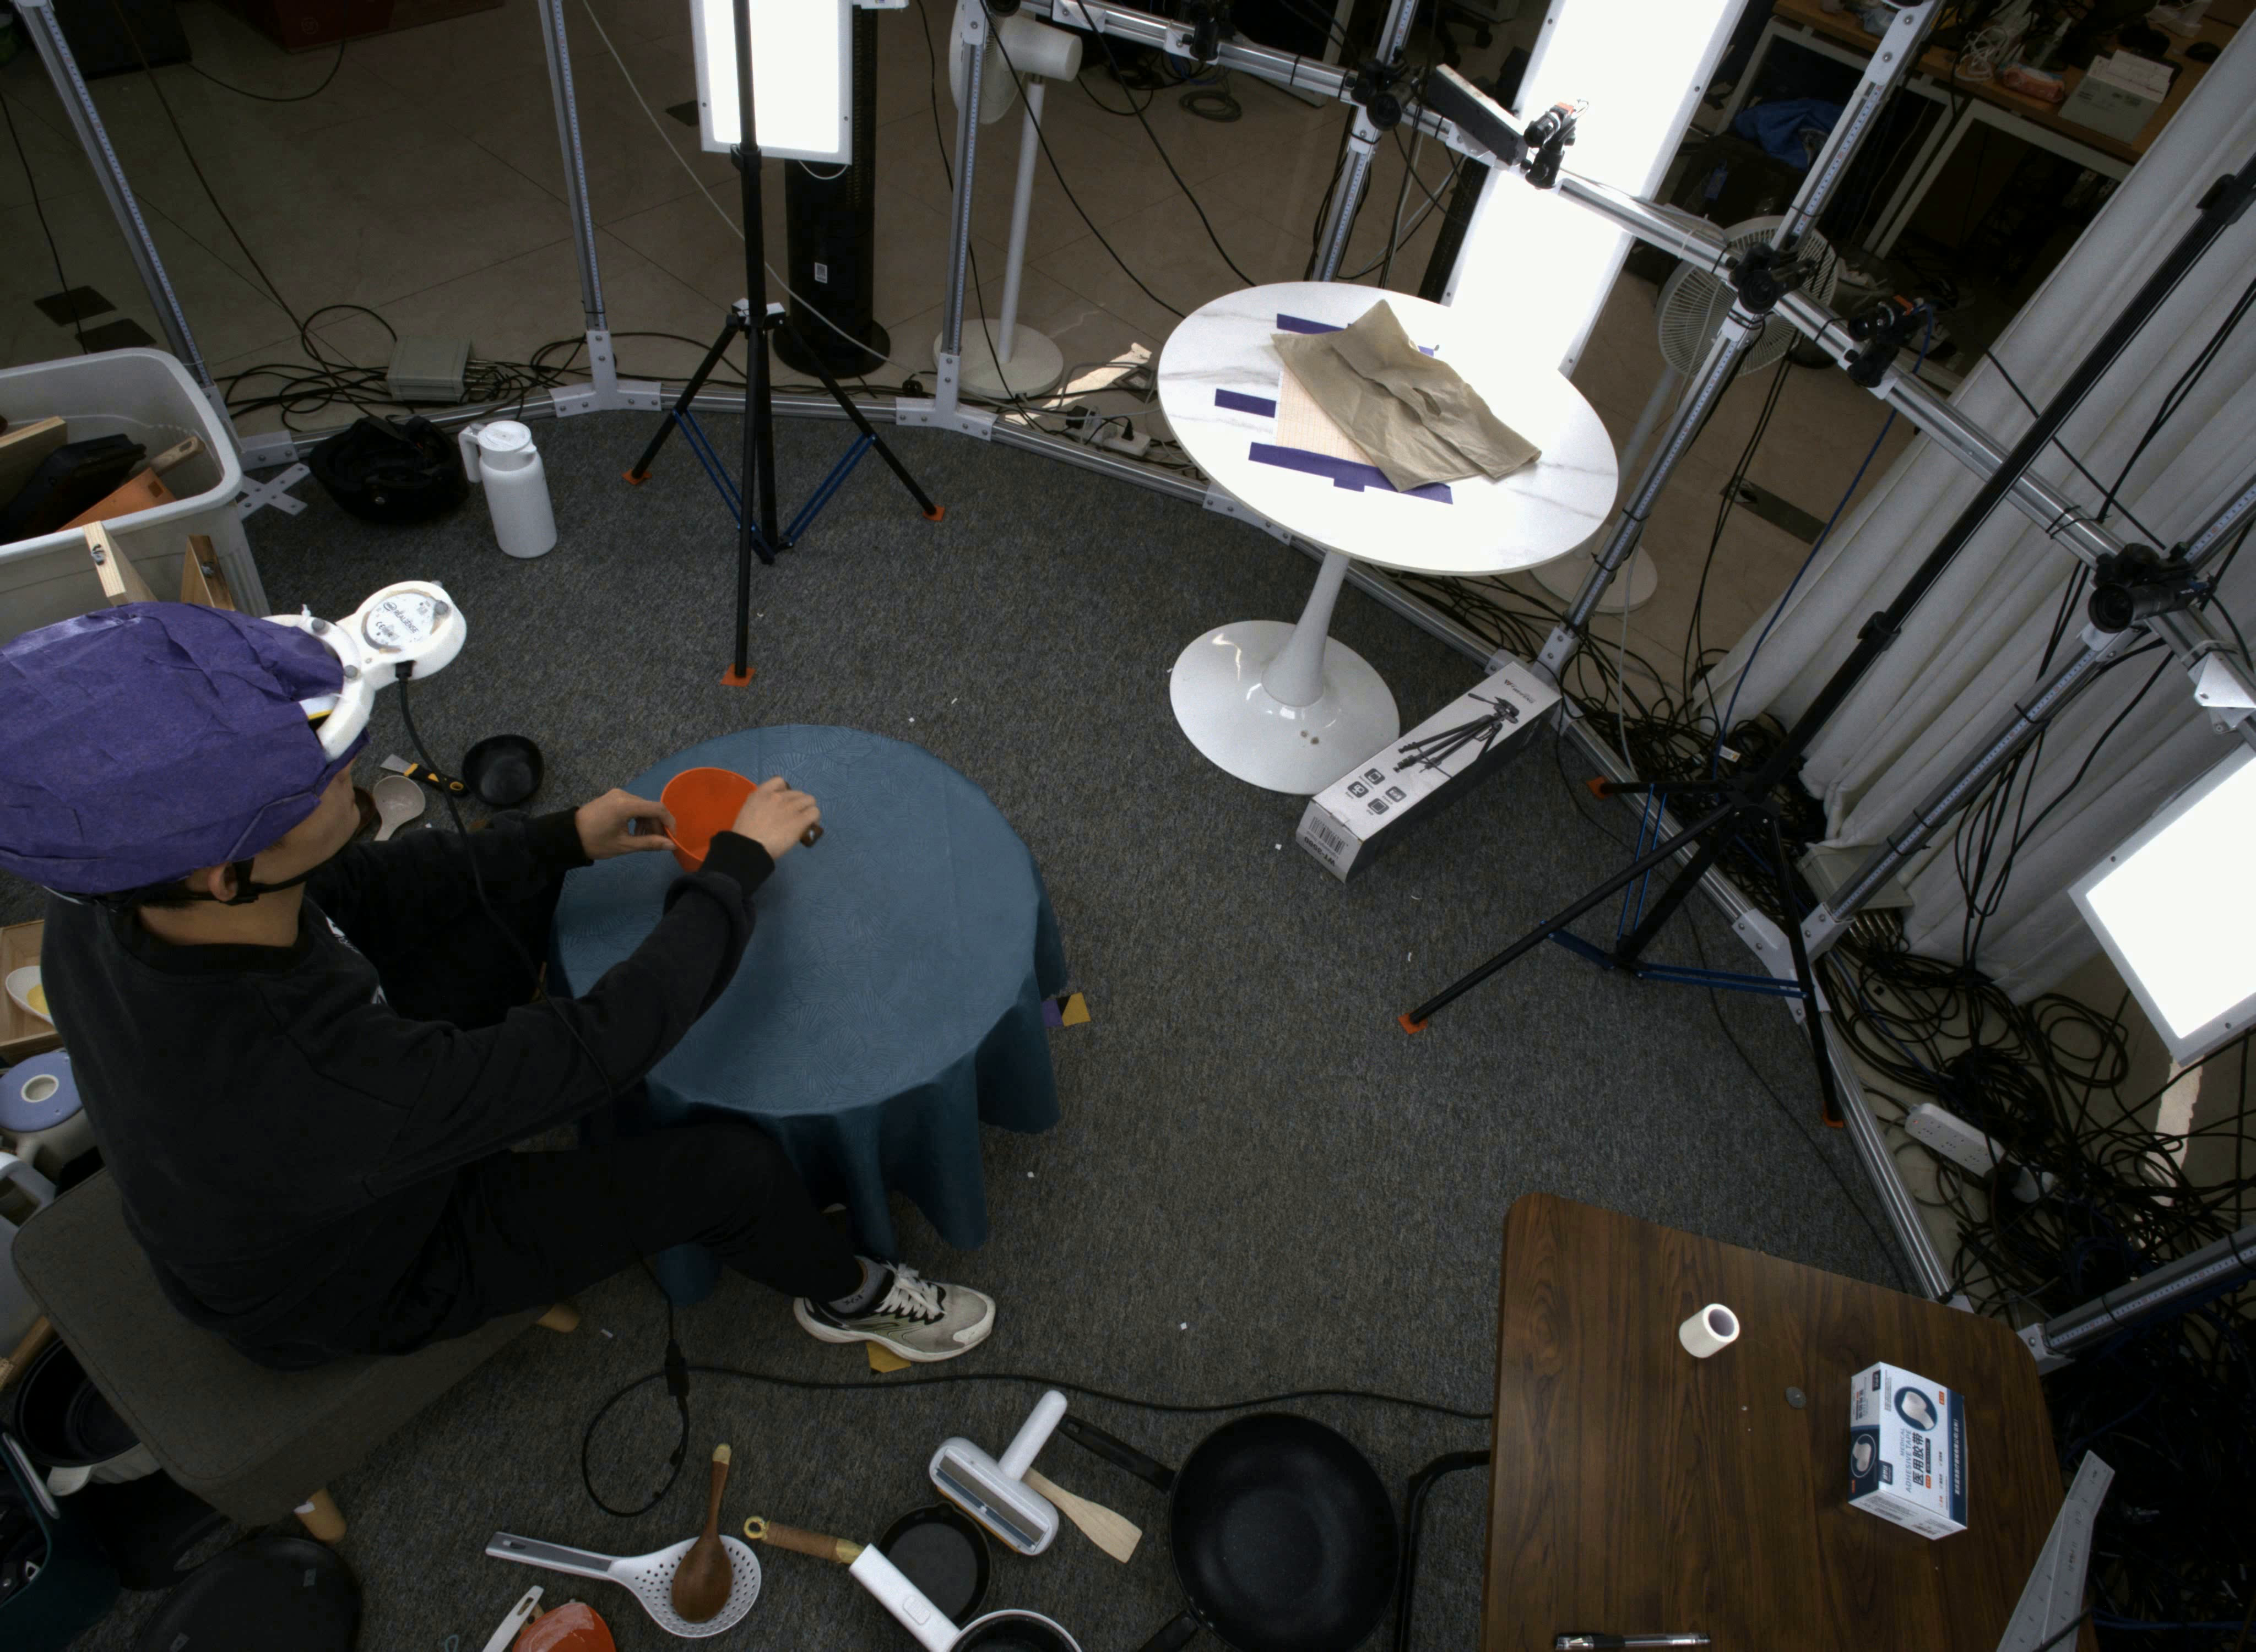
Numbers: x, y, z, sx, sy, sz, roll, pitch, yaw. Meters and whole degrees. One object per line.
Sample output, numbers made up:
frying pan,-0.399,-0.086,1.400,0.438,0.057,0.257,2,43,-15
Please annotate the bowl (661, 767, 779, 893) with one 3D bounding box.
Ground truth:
bowl,-0.518,0.014,1.620,0.149,0.106,0.145,19,41,-15

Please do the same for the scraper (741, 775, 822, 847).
scraper,-0.409,-0.012,1.551,0.076,0.011,0.203,-51,35,-10
